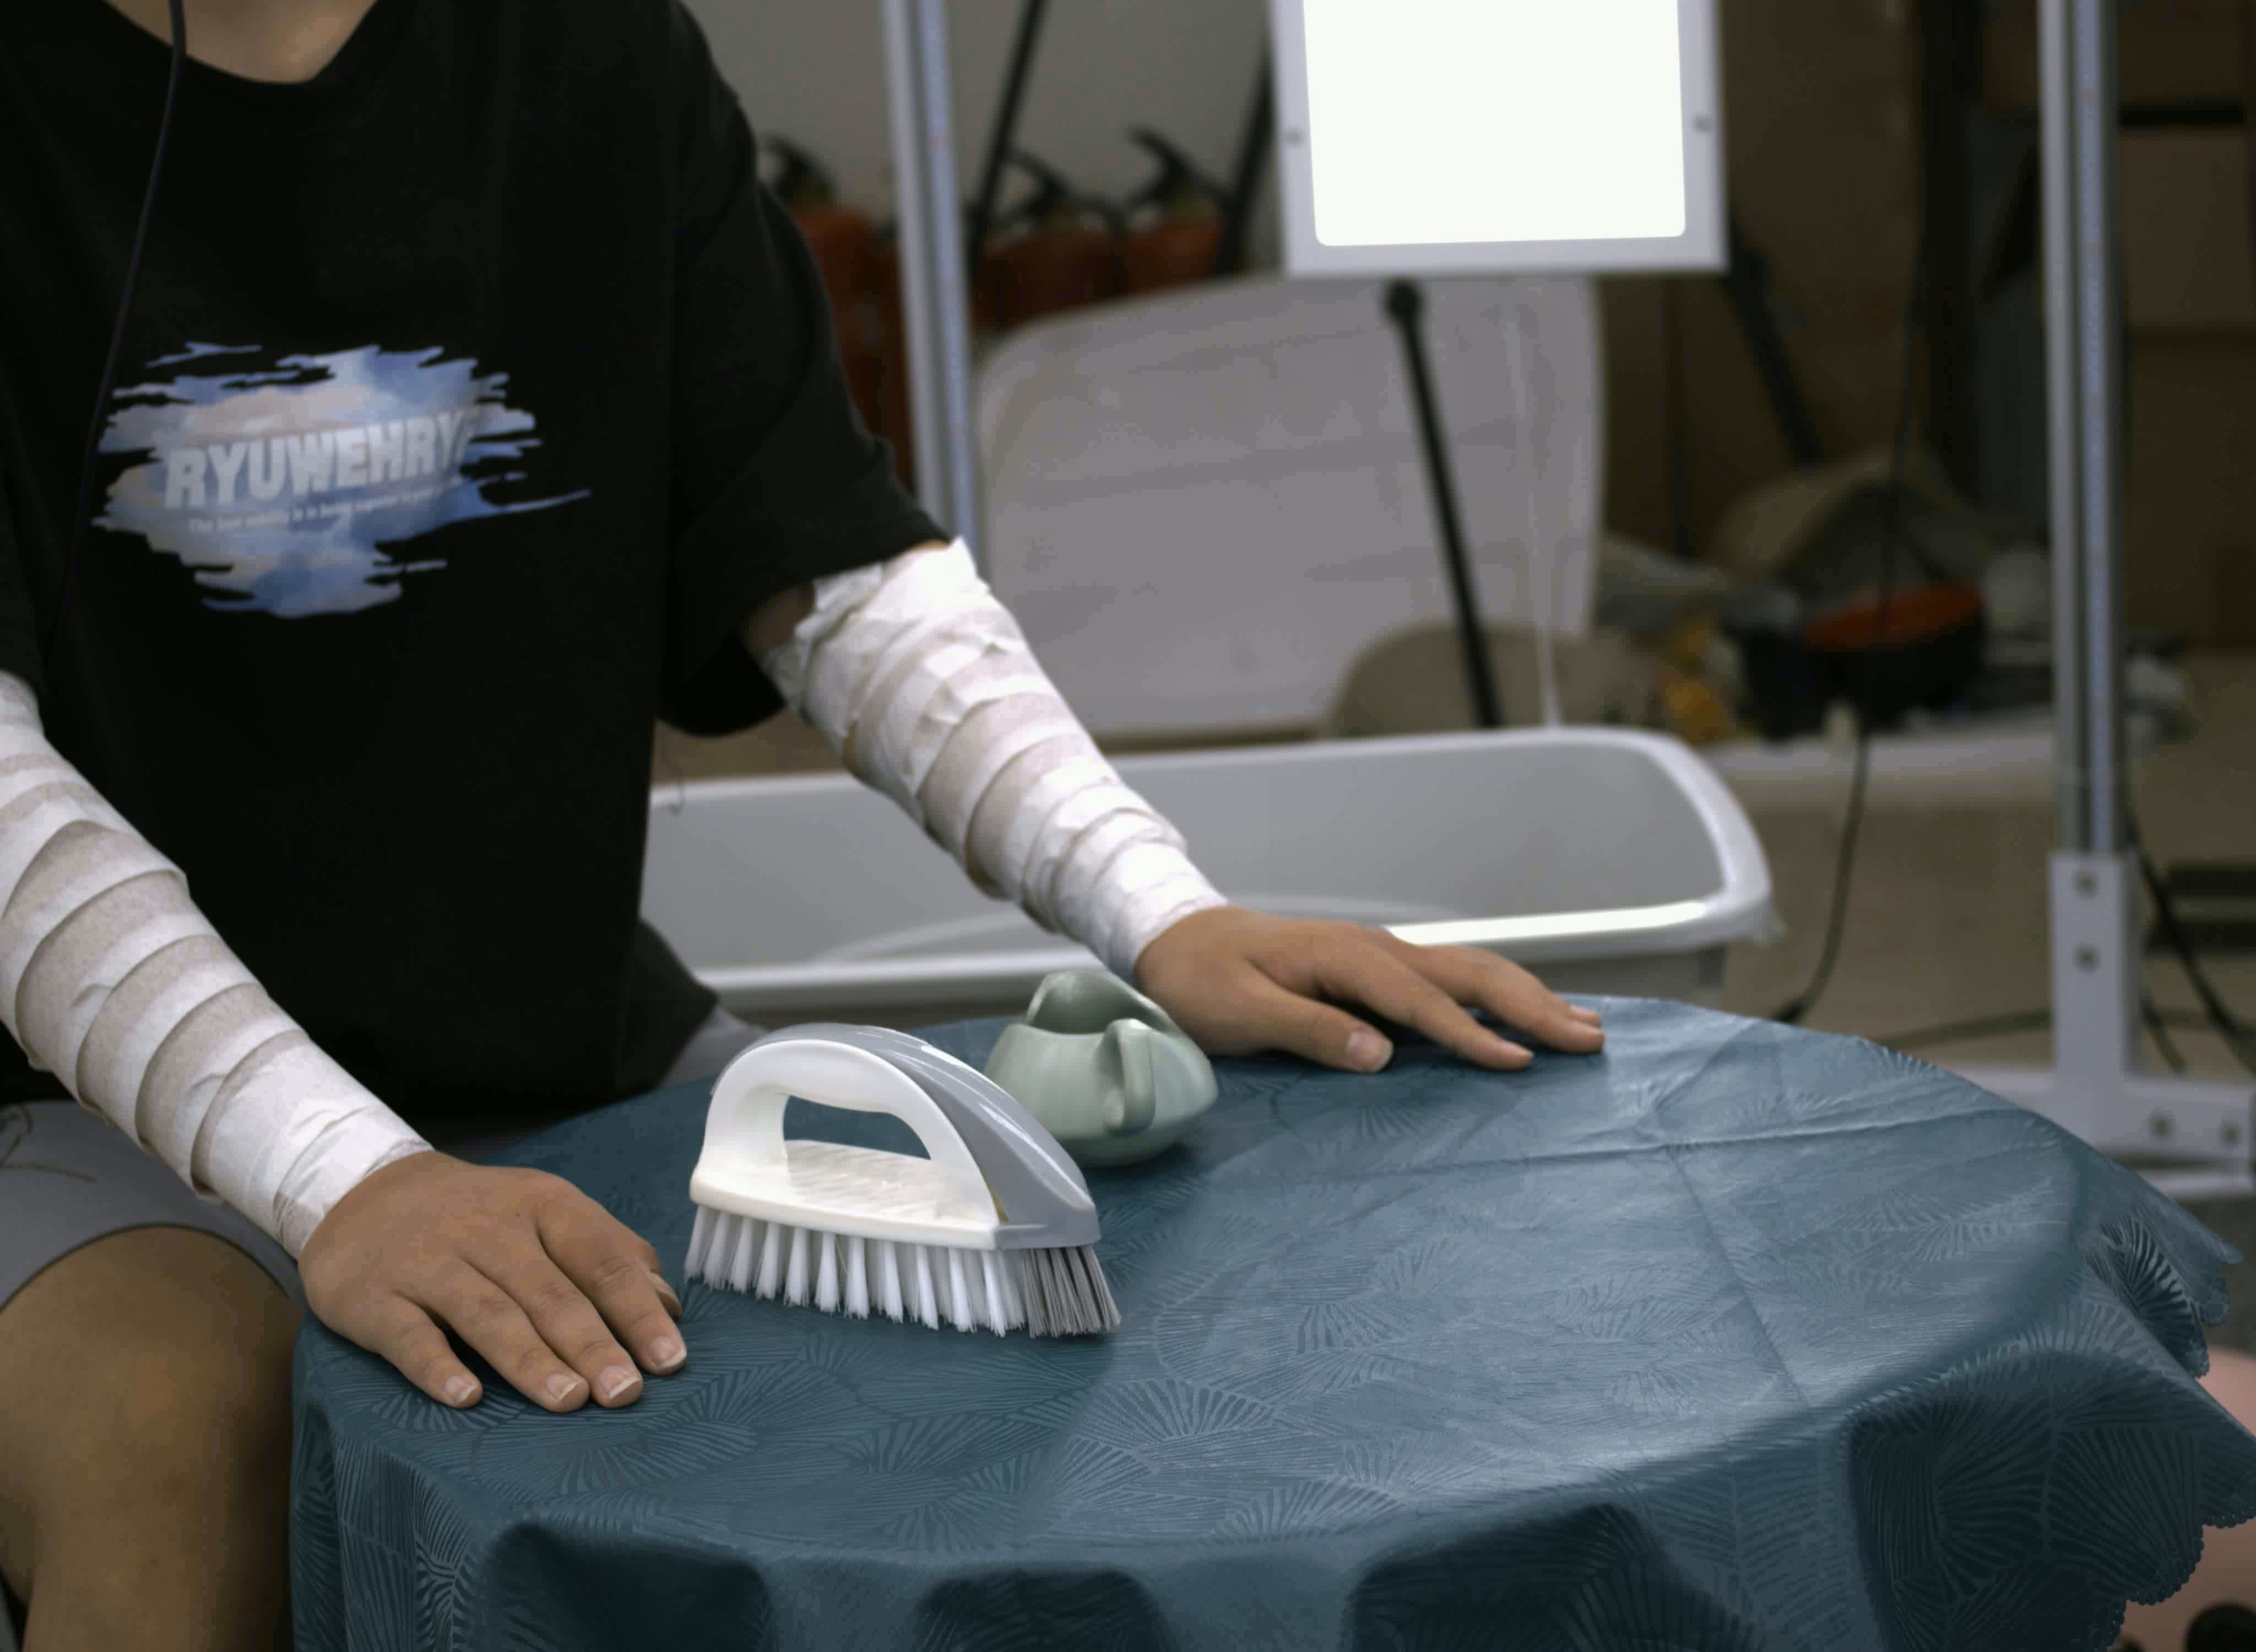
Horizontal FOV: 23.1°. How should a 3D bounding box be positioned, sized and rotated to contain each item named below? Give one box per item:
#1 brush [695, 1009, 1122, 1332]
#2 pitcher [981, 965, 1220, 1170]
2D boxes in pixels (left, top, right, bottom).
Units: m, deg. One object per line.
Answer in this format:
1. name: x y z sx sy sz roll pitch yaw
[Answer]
1. brush: -0.071 0.110 1.801 0.179 0.094 0.060 11 25 43
2. pitcher: -0.007 0.089 1.935 0.085 0.060 0.109 -10 16 -15
